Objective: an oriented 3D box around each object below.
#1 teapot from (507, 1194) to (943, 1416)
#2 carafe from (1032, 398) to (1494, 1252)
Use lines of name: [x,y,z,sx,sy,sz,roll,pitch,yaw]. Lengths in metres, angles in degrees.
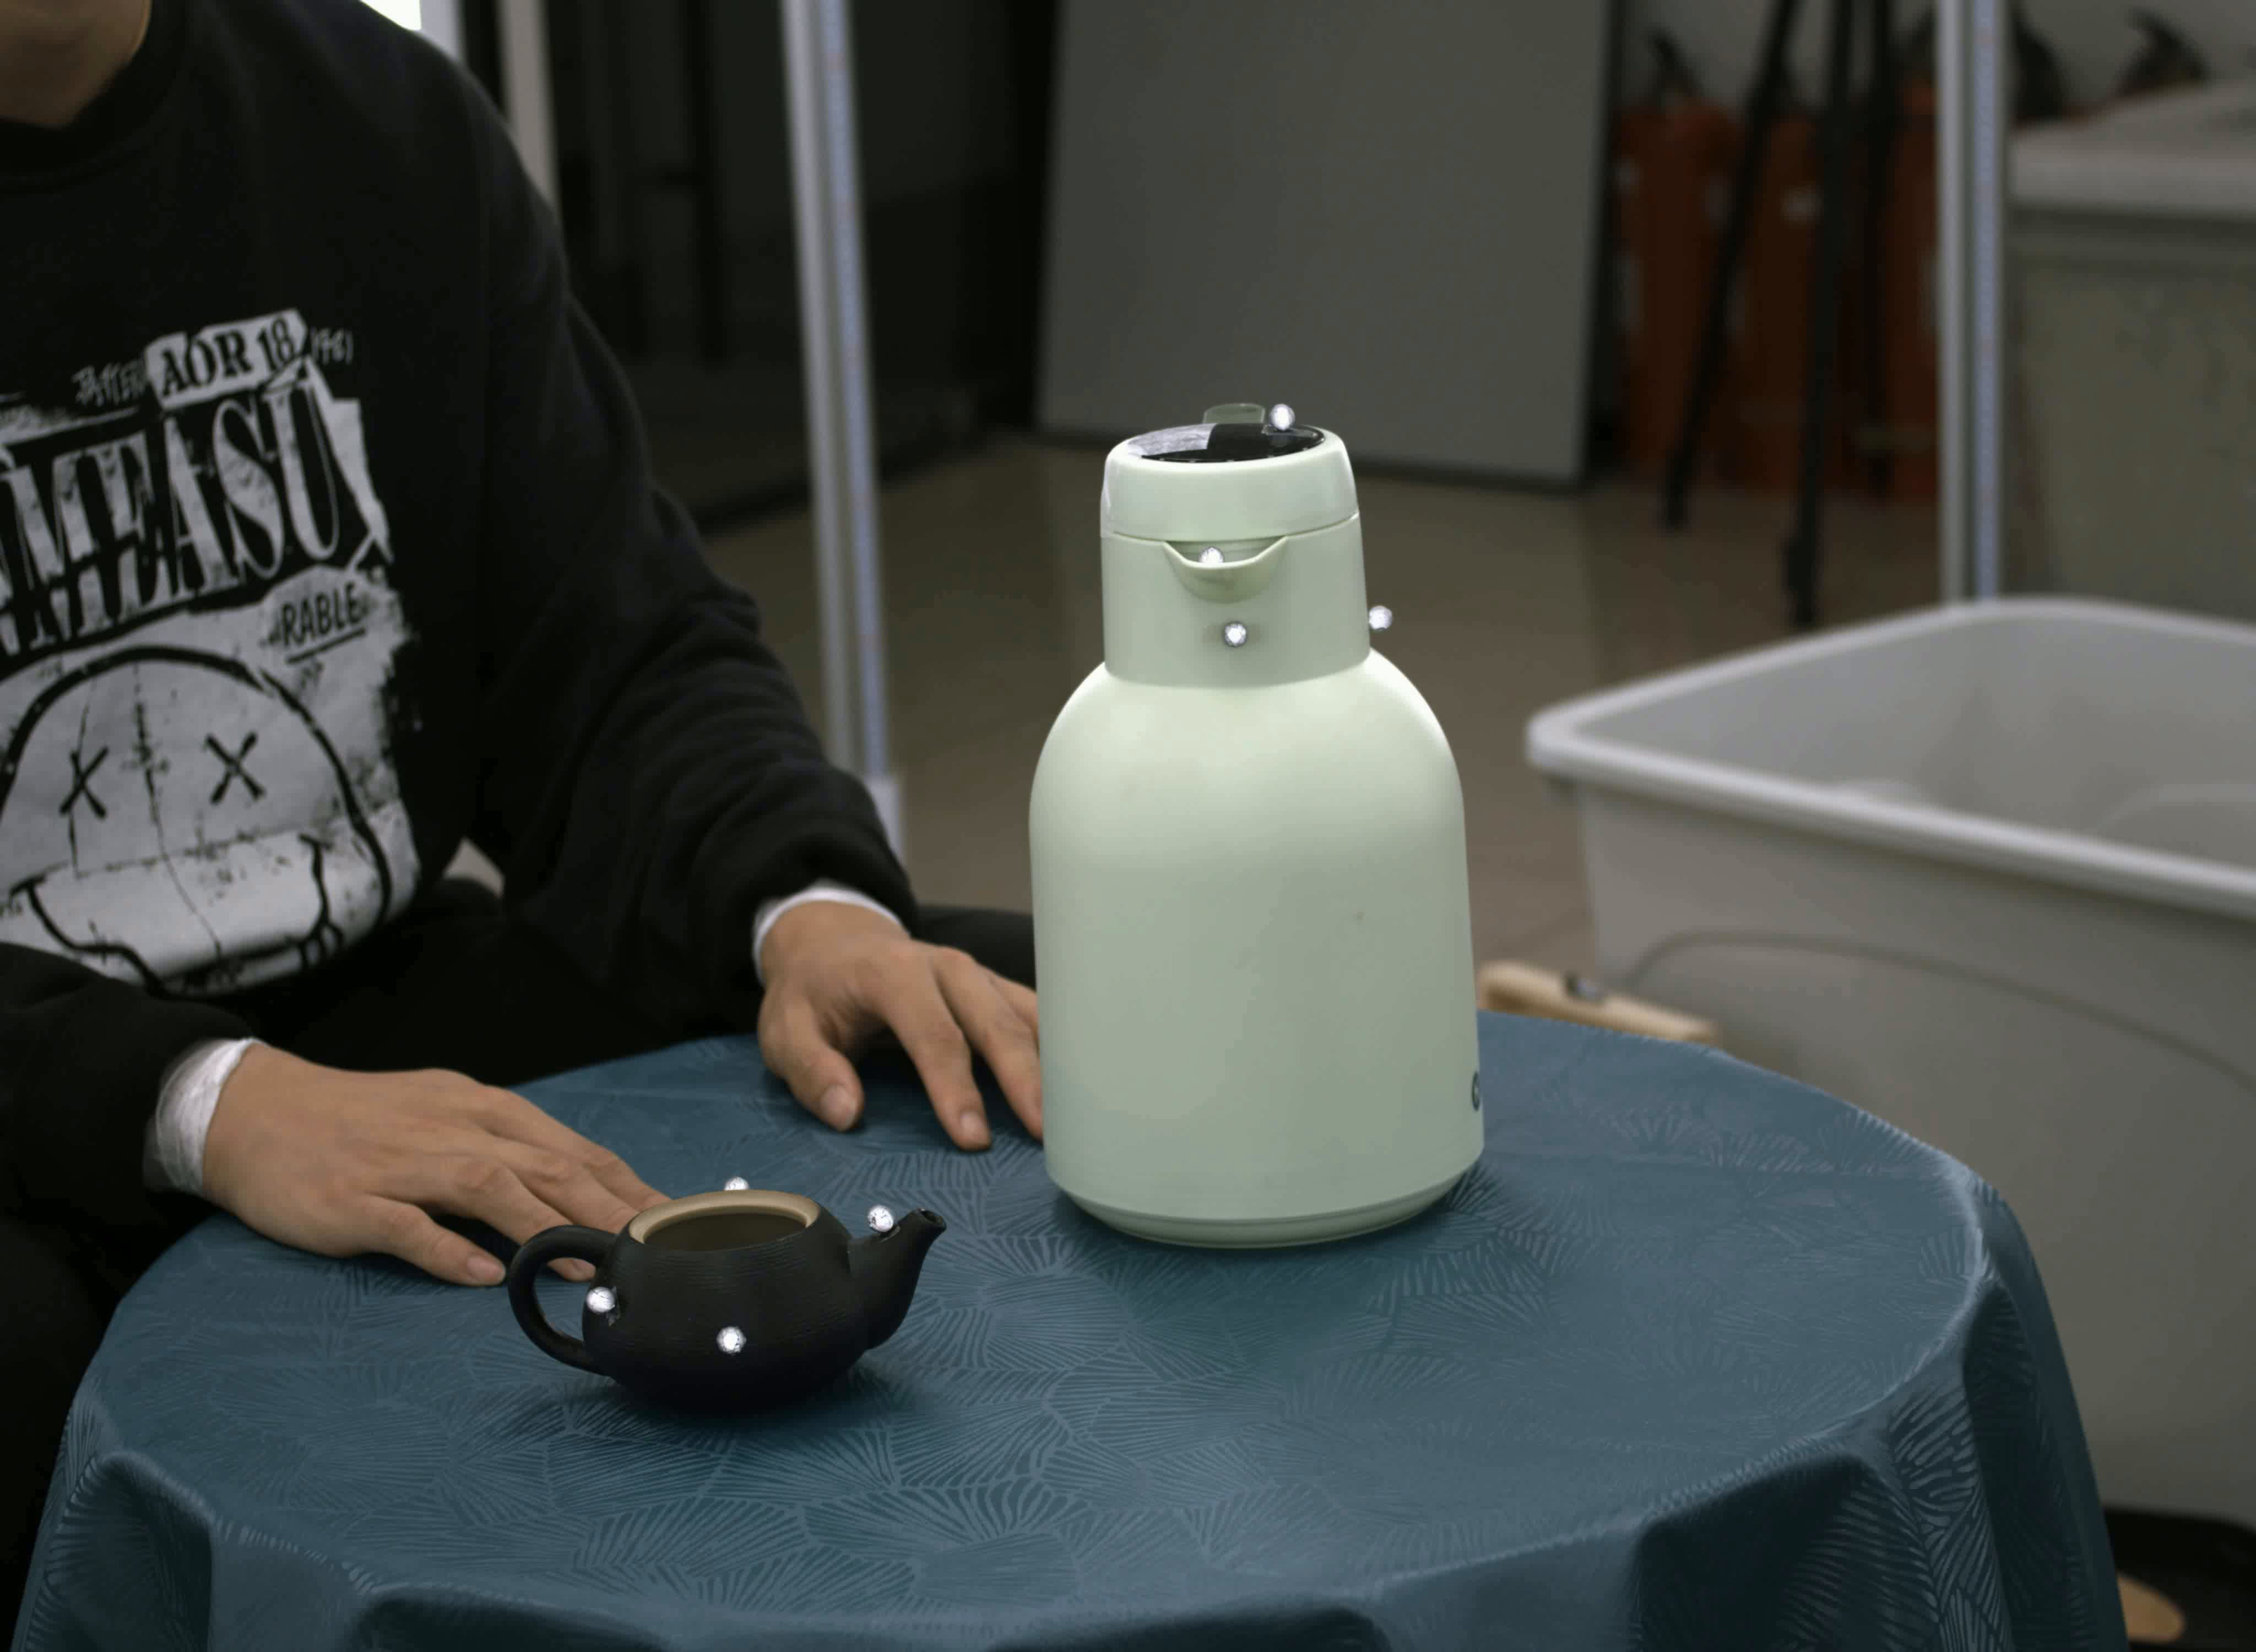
teapot: [-0.119,0.143,1.612,0.132,0.053,0.091,-3,12,4]
carafe: [0.039,-0.005,1.749,0.143,0.260,0.186,-4,10,5]
